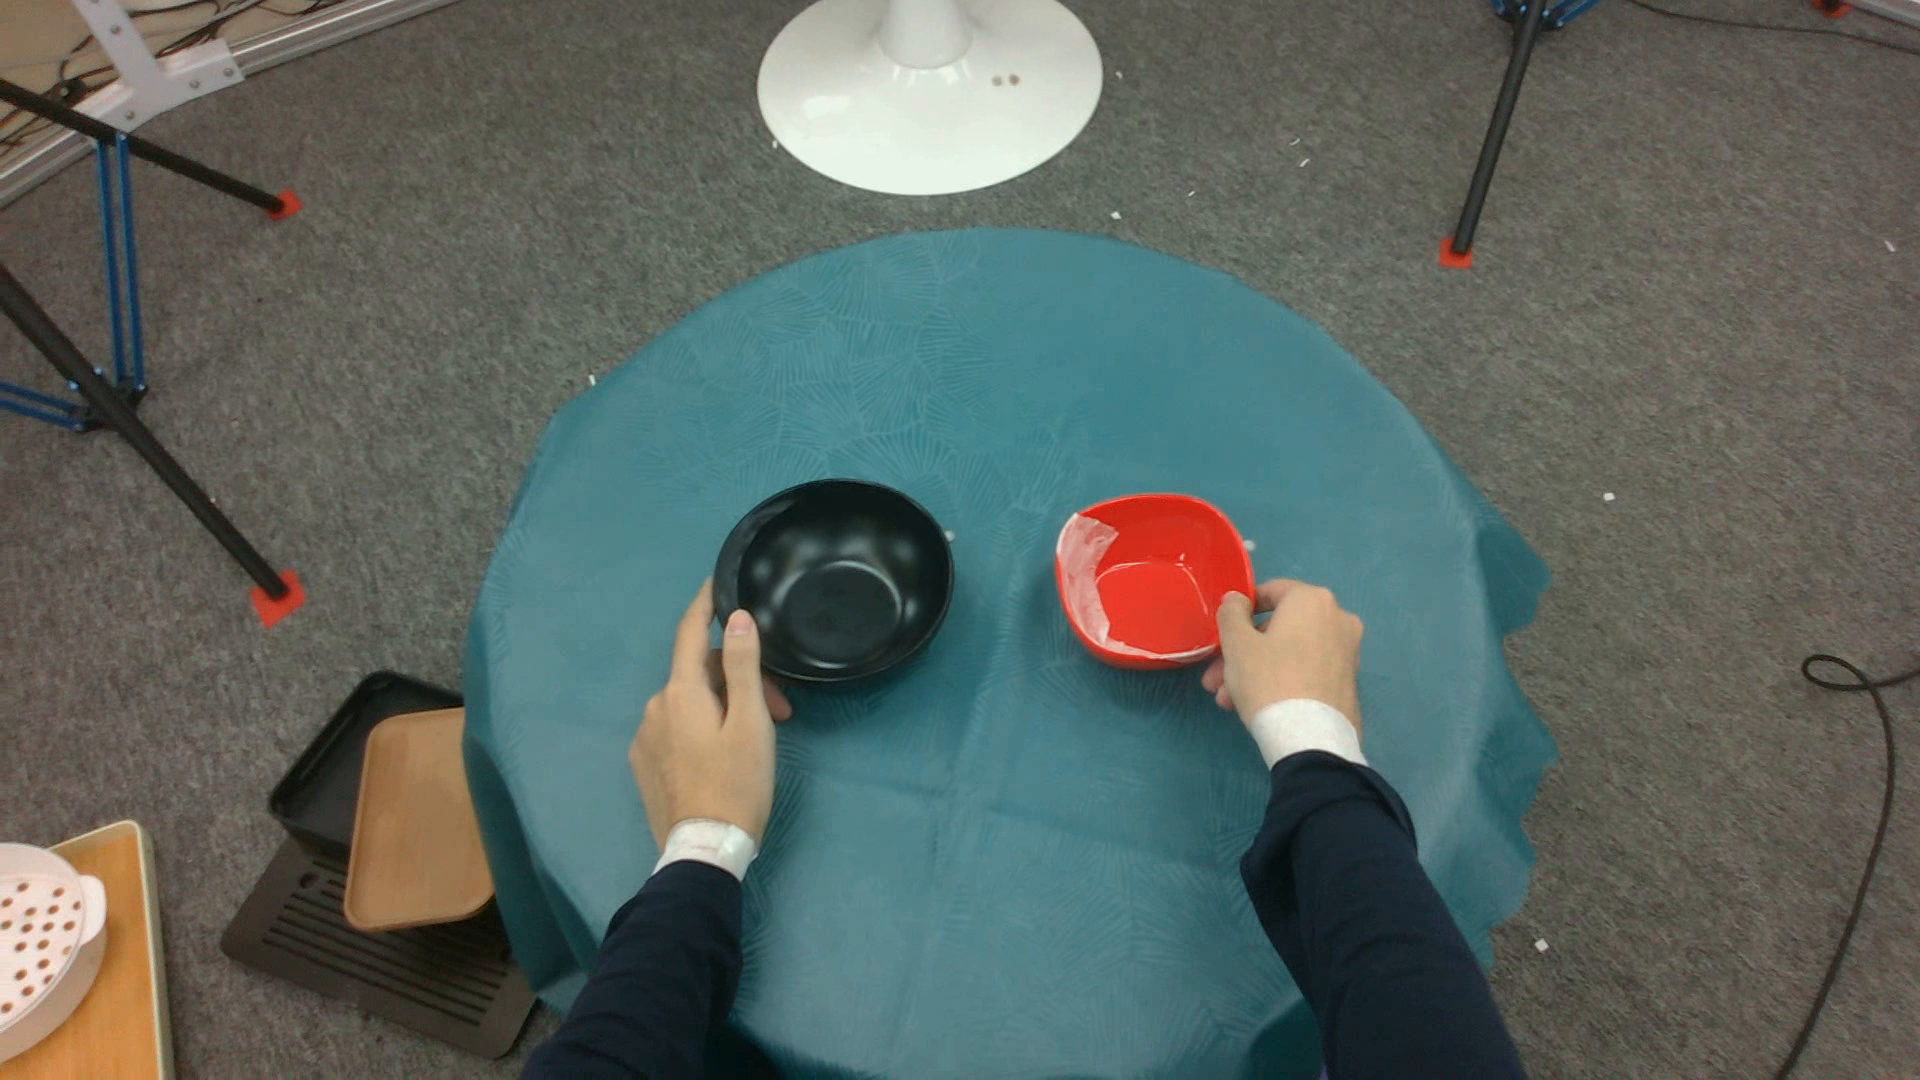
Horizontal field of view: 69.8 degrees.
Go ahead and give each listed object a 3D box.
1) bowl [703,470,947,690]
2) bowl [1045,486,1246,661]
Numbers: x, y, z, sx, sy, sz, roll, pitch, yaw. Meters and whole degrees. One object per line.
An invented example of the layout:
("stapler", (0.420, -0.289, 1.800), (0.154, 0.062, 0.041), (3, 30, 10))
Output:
("bowl", (-0.076, 0.030, 0.801), (0.140, 0.049, 0.140), (-1, 60, 1))
("bowl", (0.104, 0.027, 0.790), (0.119, 0.051, 0.119), (-1, 54, 1))
